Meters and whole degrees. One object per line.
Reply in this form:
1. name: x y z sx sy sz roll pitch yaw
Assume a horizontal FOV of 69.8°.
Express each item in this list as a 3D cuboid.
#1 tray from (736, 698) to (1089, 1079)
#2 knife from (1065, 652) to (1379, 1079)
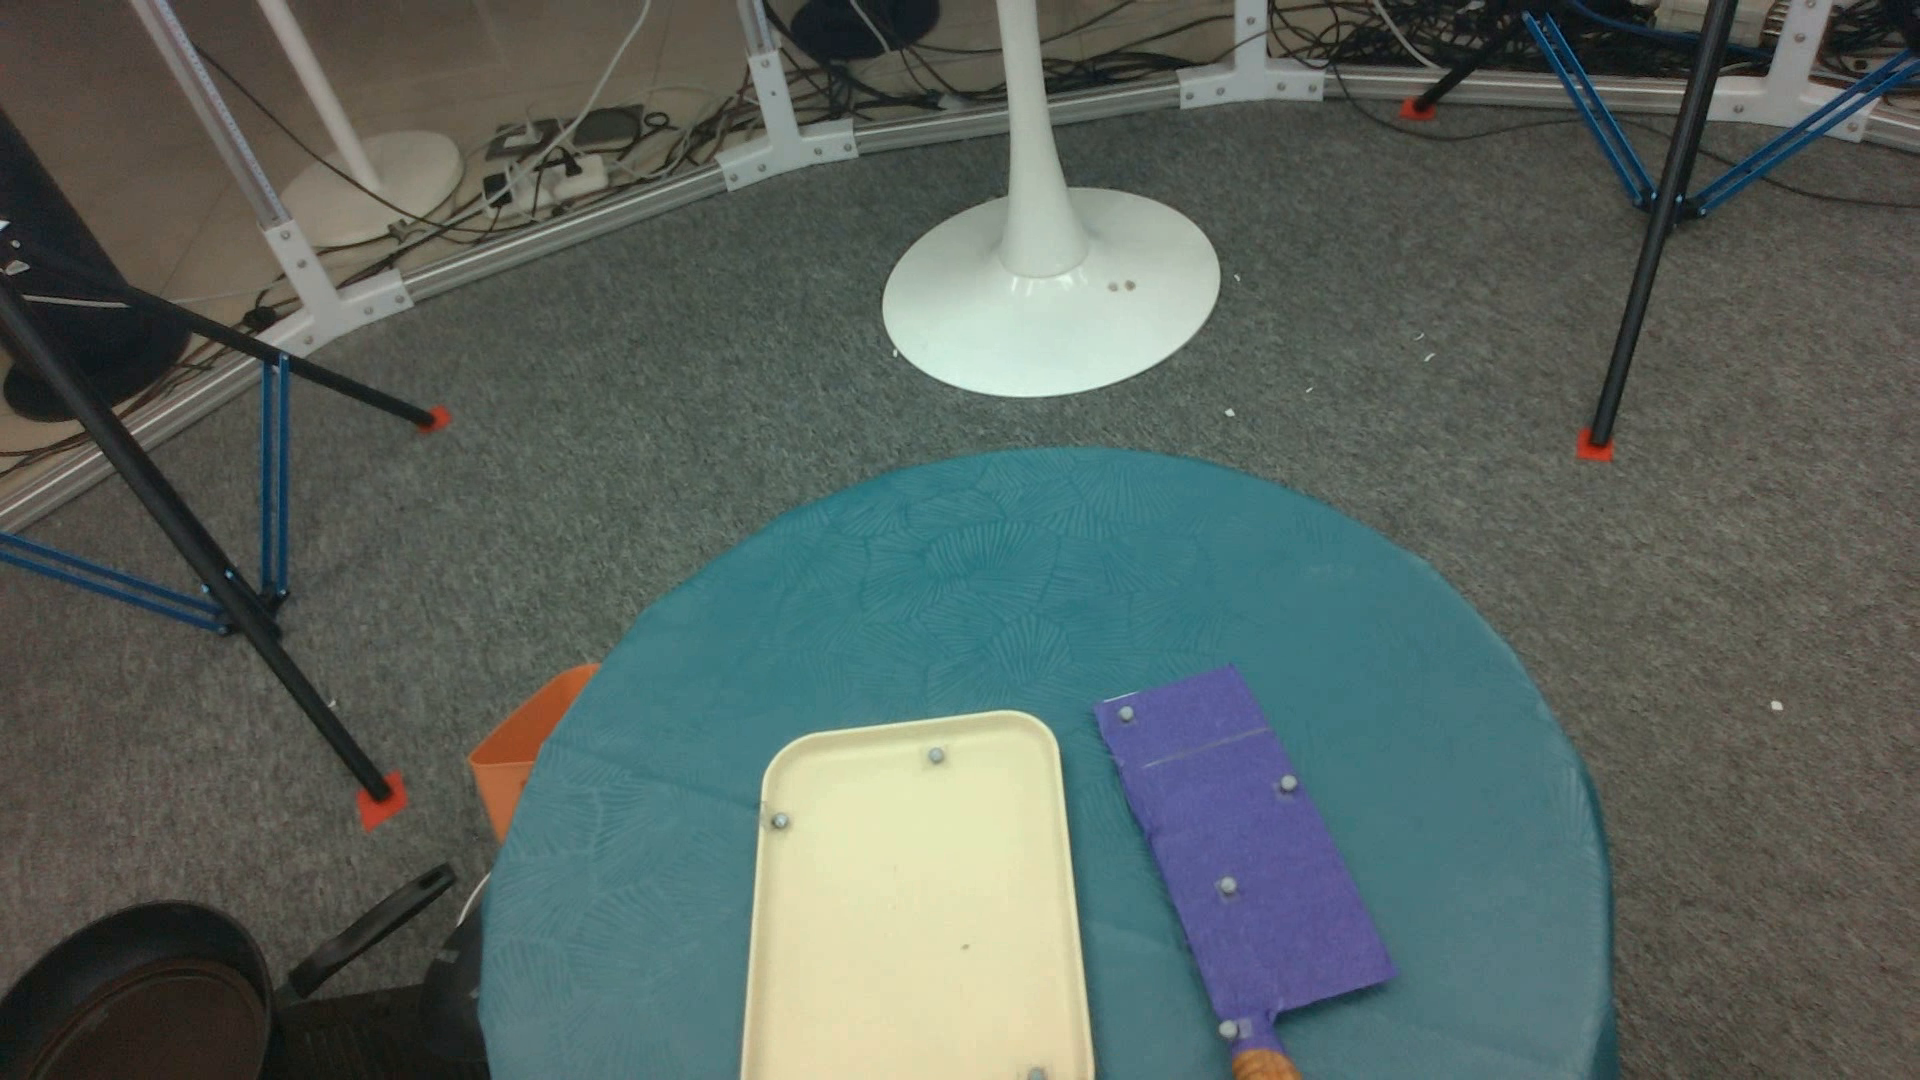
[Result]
1. tray: -0.027 0.190 0.717 0.171 0.017 0.241 -7 47 3
2. knife: 0.149 0.176 0.693 0.104 0.032 0.316 -16 46 -5
